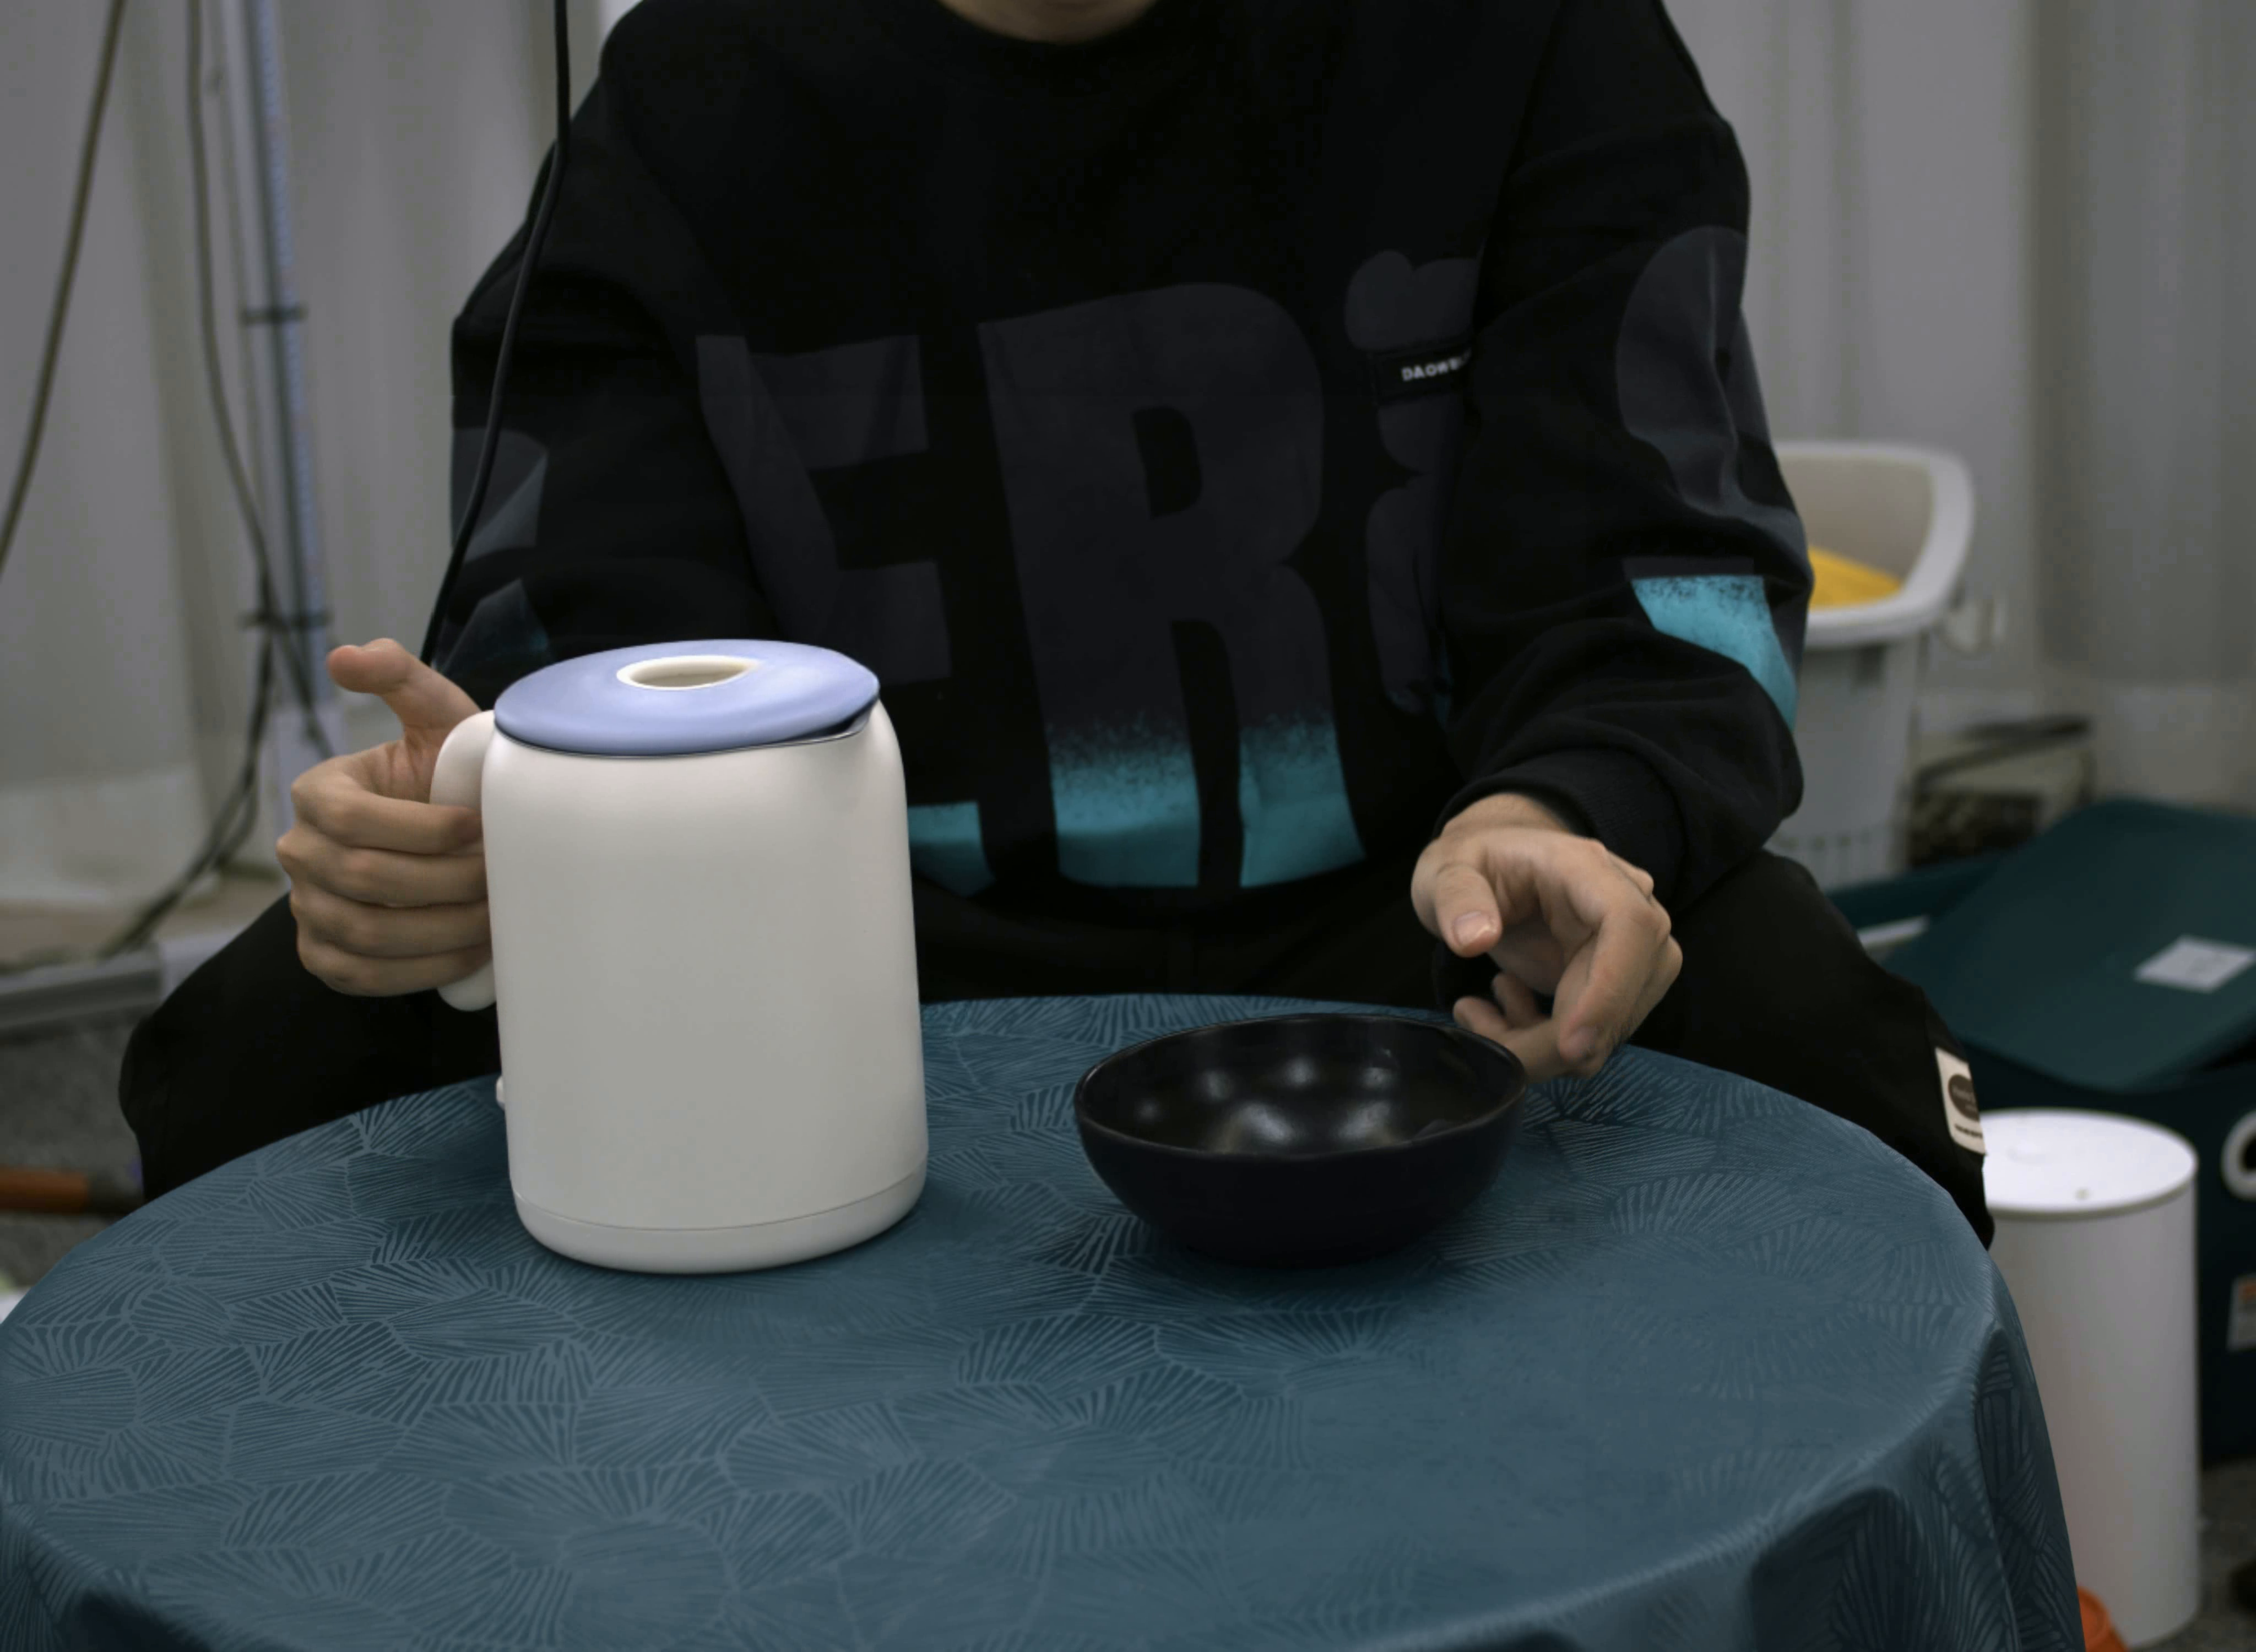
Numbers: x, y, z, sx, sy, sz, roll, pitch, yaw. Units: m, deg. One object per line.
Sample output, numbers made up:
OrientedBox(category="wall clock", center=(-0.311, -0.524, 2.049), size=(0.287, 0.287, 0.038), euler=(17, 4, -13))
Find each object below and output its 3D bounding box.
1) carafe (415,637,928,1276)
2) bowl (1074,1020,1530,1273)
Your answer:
OrientedBox(category="carafe", center=(-0.150, 0.037, 1.708), size=(0.192, 0.182, 0.132), euler=(5, 15, 38))
OrientedBox(category="bowl", center=(0.054, 0.101, 1.660), size=(0.139, 0.049, 0.141), euler=(-4, 13, 1))
